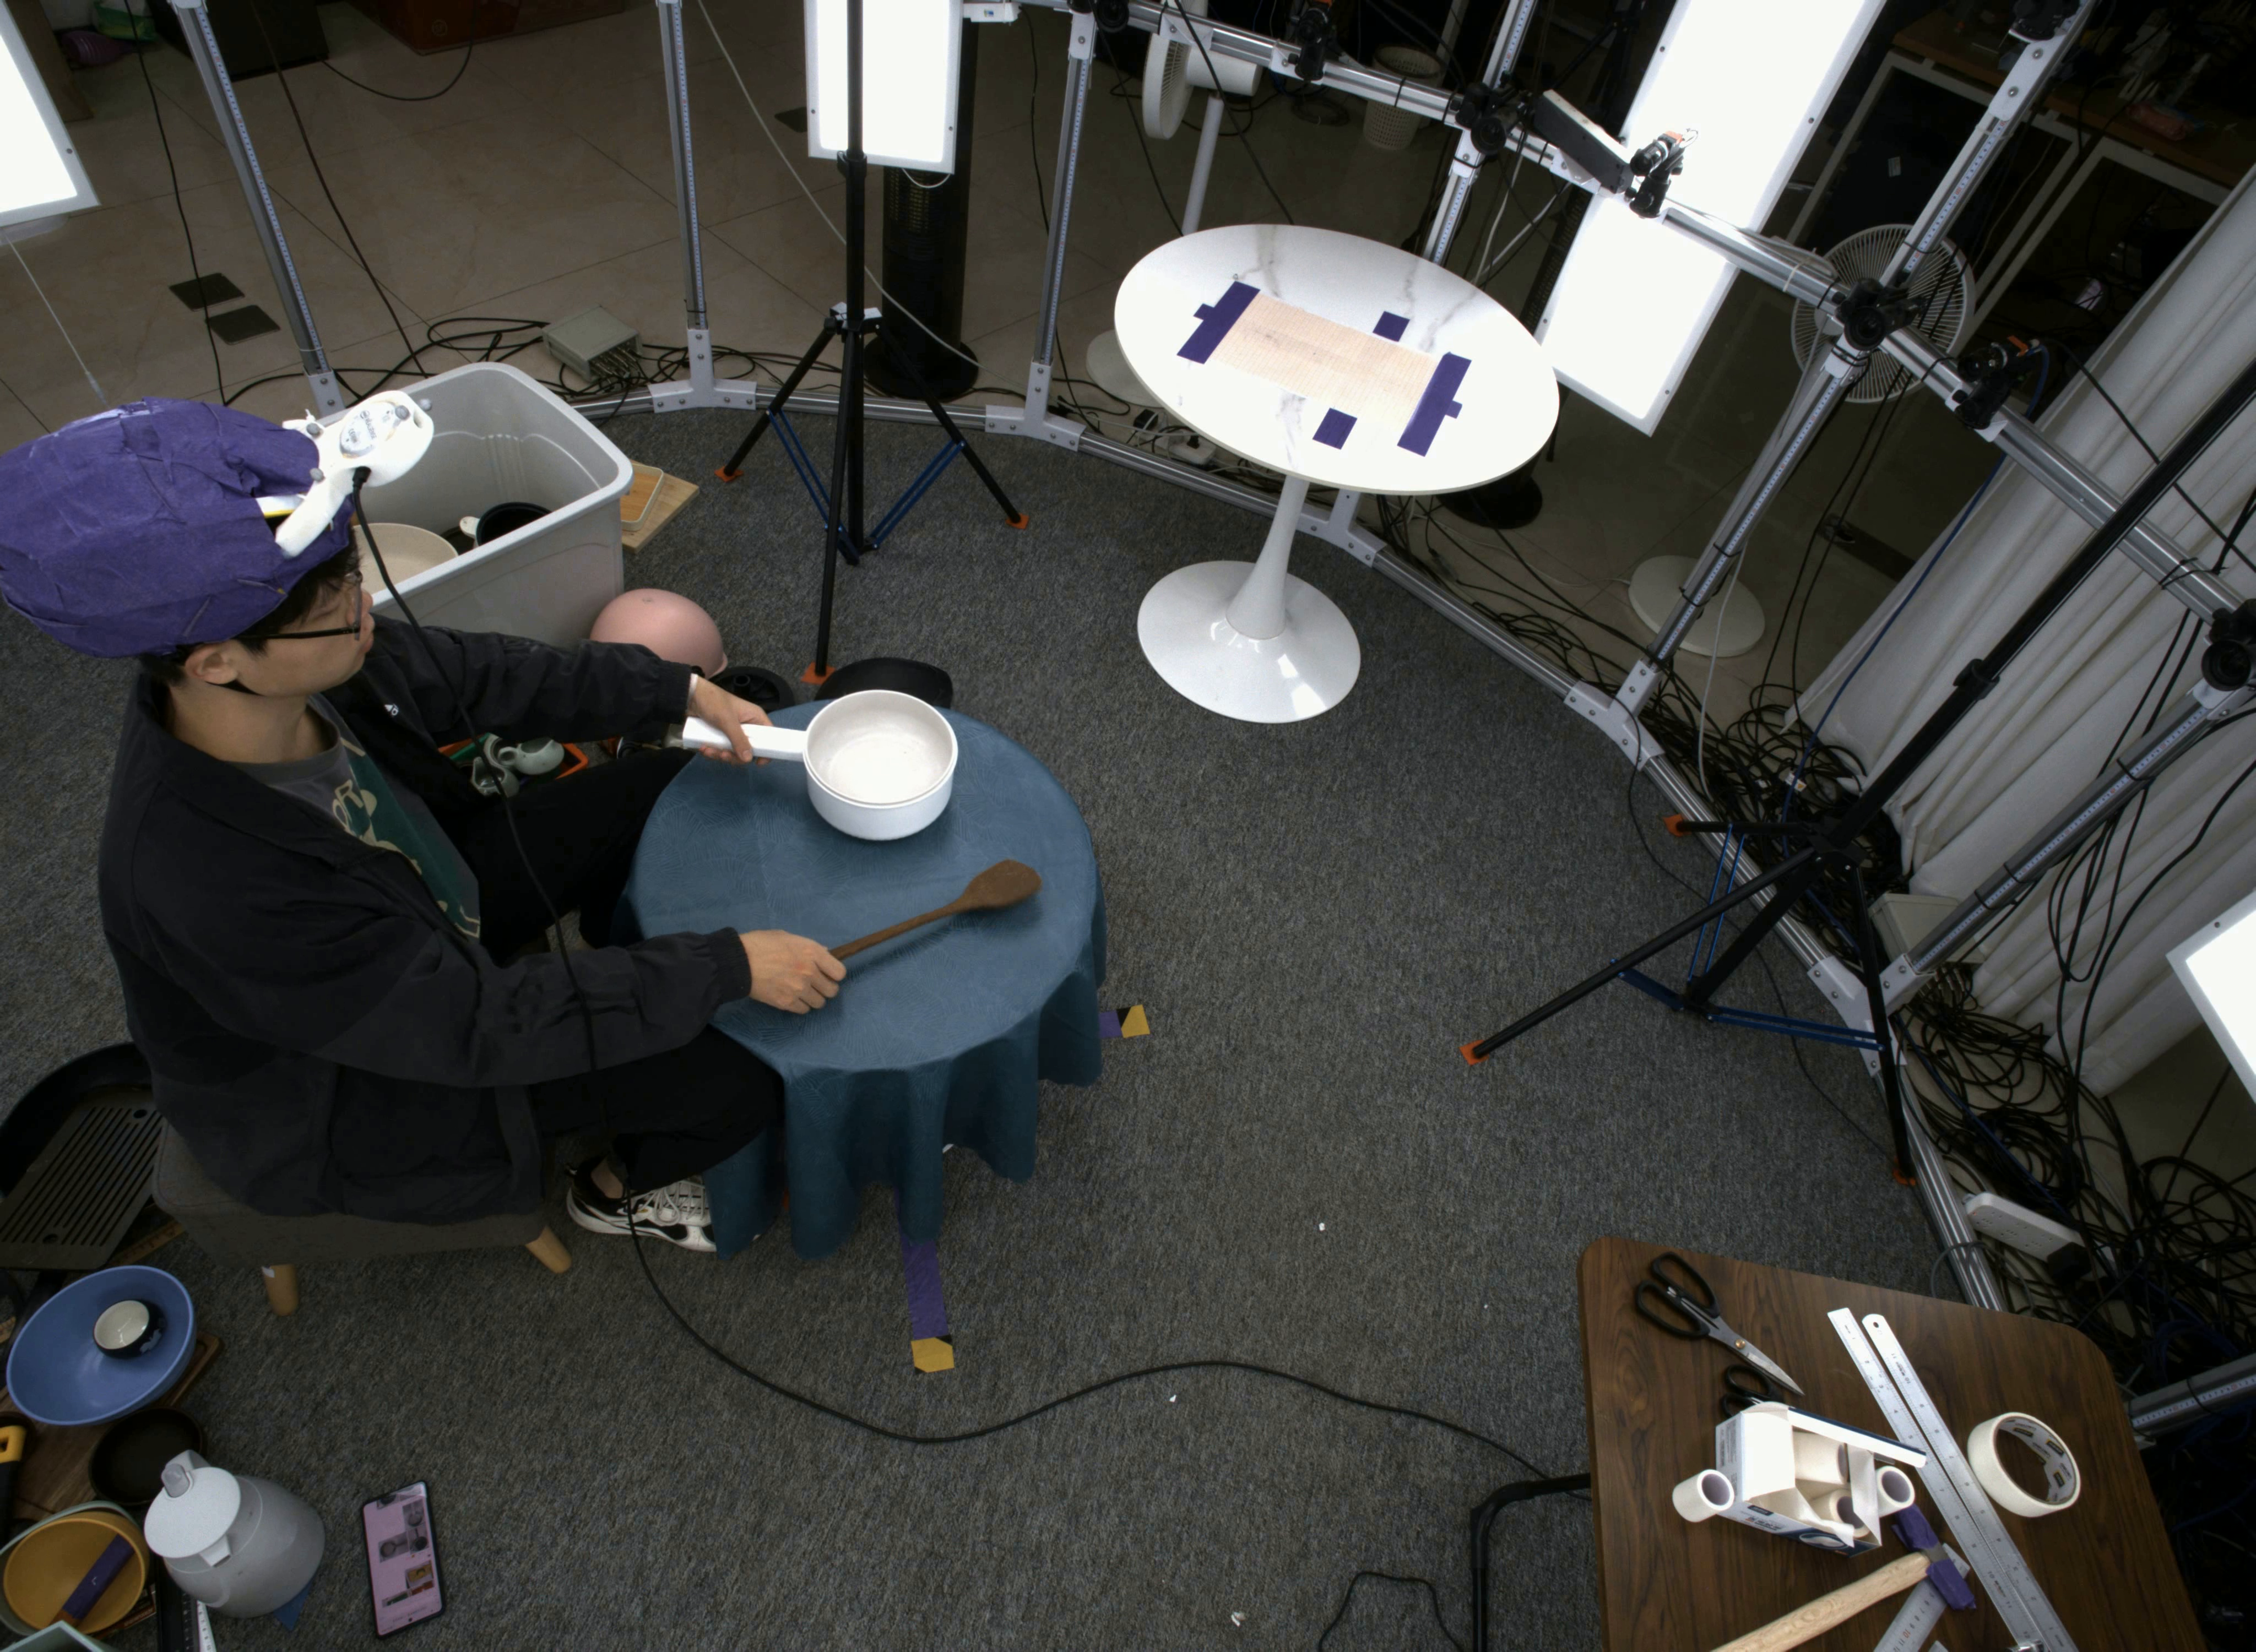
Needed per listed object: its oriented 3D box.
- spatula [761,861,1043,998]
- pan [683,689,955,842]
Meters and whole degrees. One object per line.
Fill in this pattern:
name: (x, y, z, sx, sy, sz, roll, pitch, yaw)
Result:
spatula: (-0.281, 0.129, 1.632, 0.388, 0.016, 0.092, -23, 39, -30)
pan: (-0.408, -0.084, 1.730, 0.353, 0.104, 0.197, 5, 54, -7)
